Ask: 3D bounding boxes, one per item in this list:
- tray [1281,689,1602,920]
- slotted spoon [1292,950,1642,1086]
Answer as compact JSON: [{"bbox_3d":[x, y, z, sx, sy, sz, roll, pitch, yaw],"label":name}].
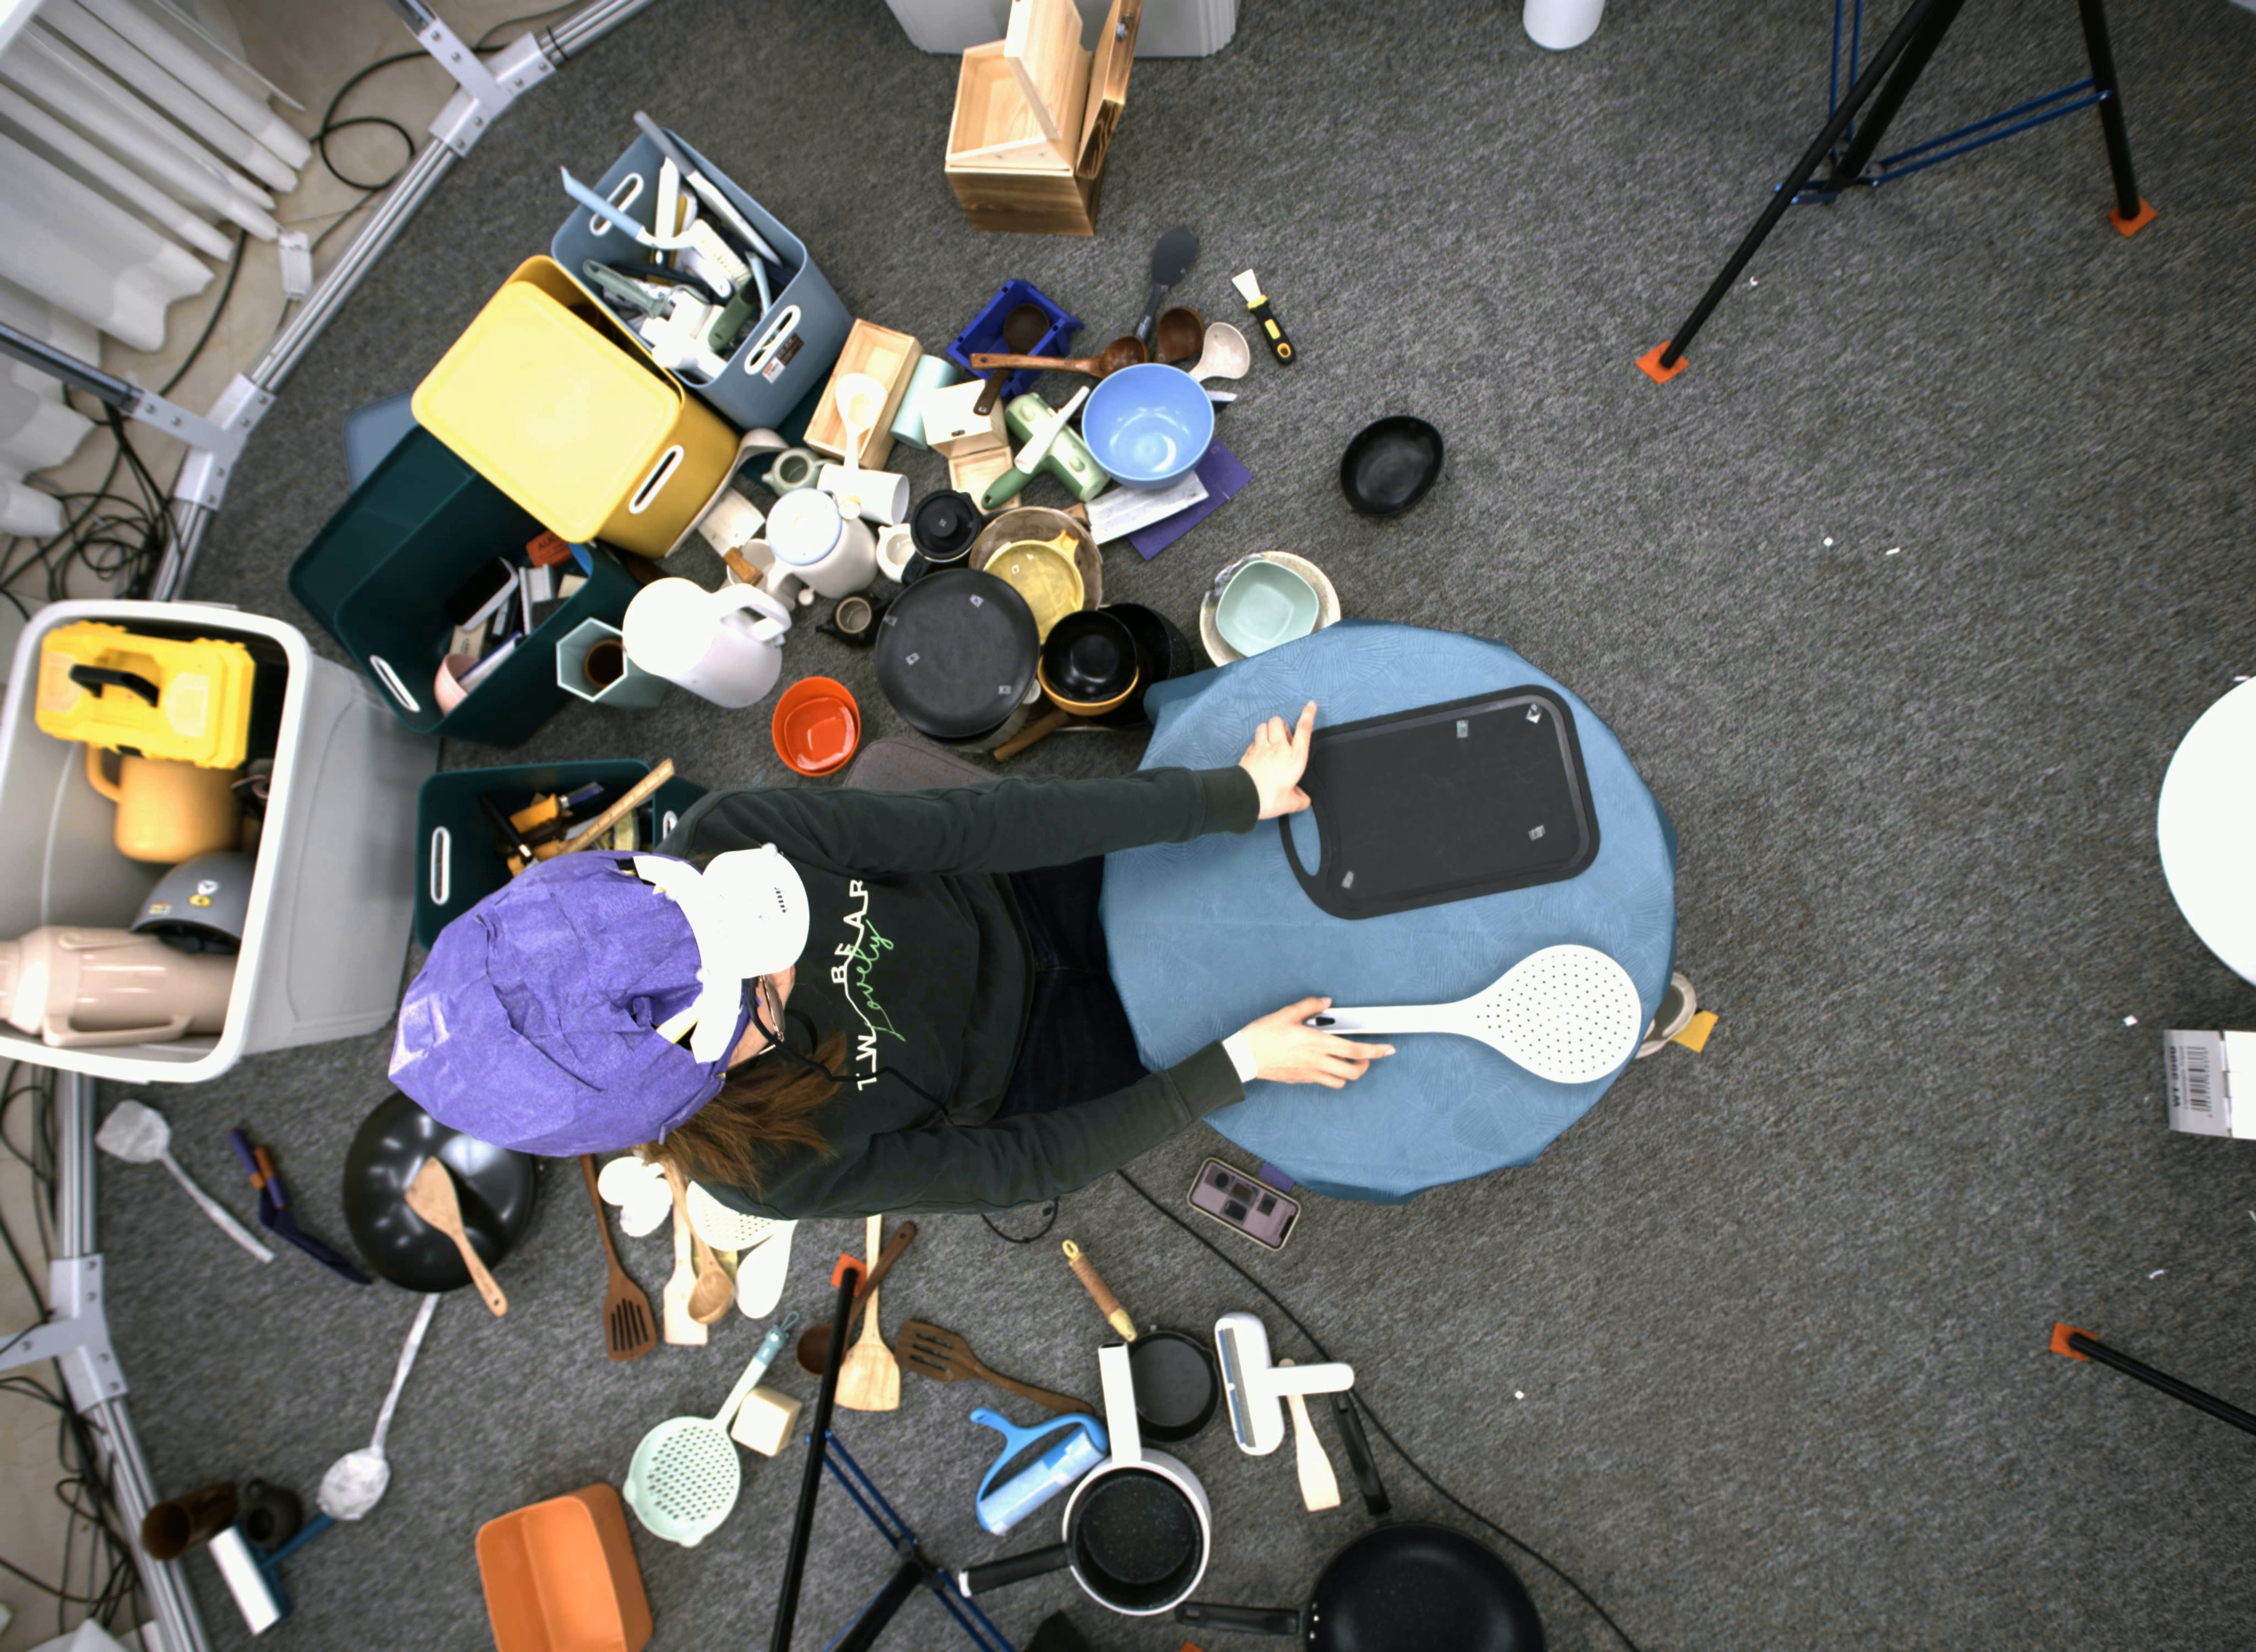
[{"bbox_3d":[0.325,-0.022,1.458,0.327,0.010,0.210,-11,84,10],"label":"tray"},{"bbox_3d":[0.343,0.198,1.420,0.351,0.046,0.135,-3,83,11],"label":"slotted spoon"}]
